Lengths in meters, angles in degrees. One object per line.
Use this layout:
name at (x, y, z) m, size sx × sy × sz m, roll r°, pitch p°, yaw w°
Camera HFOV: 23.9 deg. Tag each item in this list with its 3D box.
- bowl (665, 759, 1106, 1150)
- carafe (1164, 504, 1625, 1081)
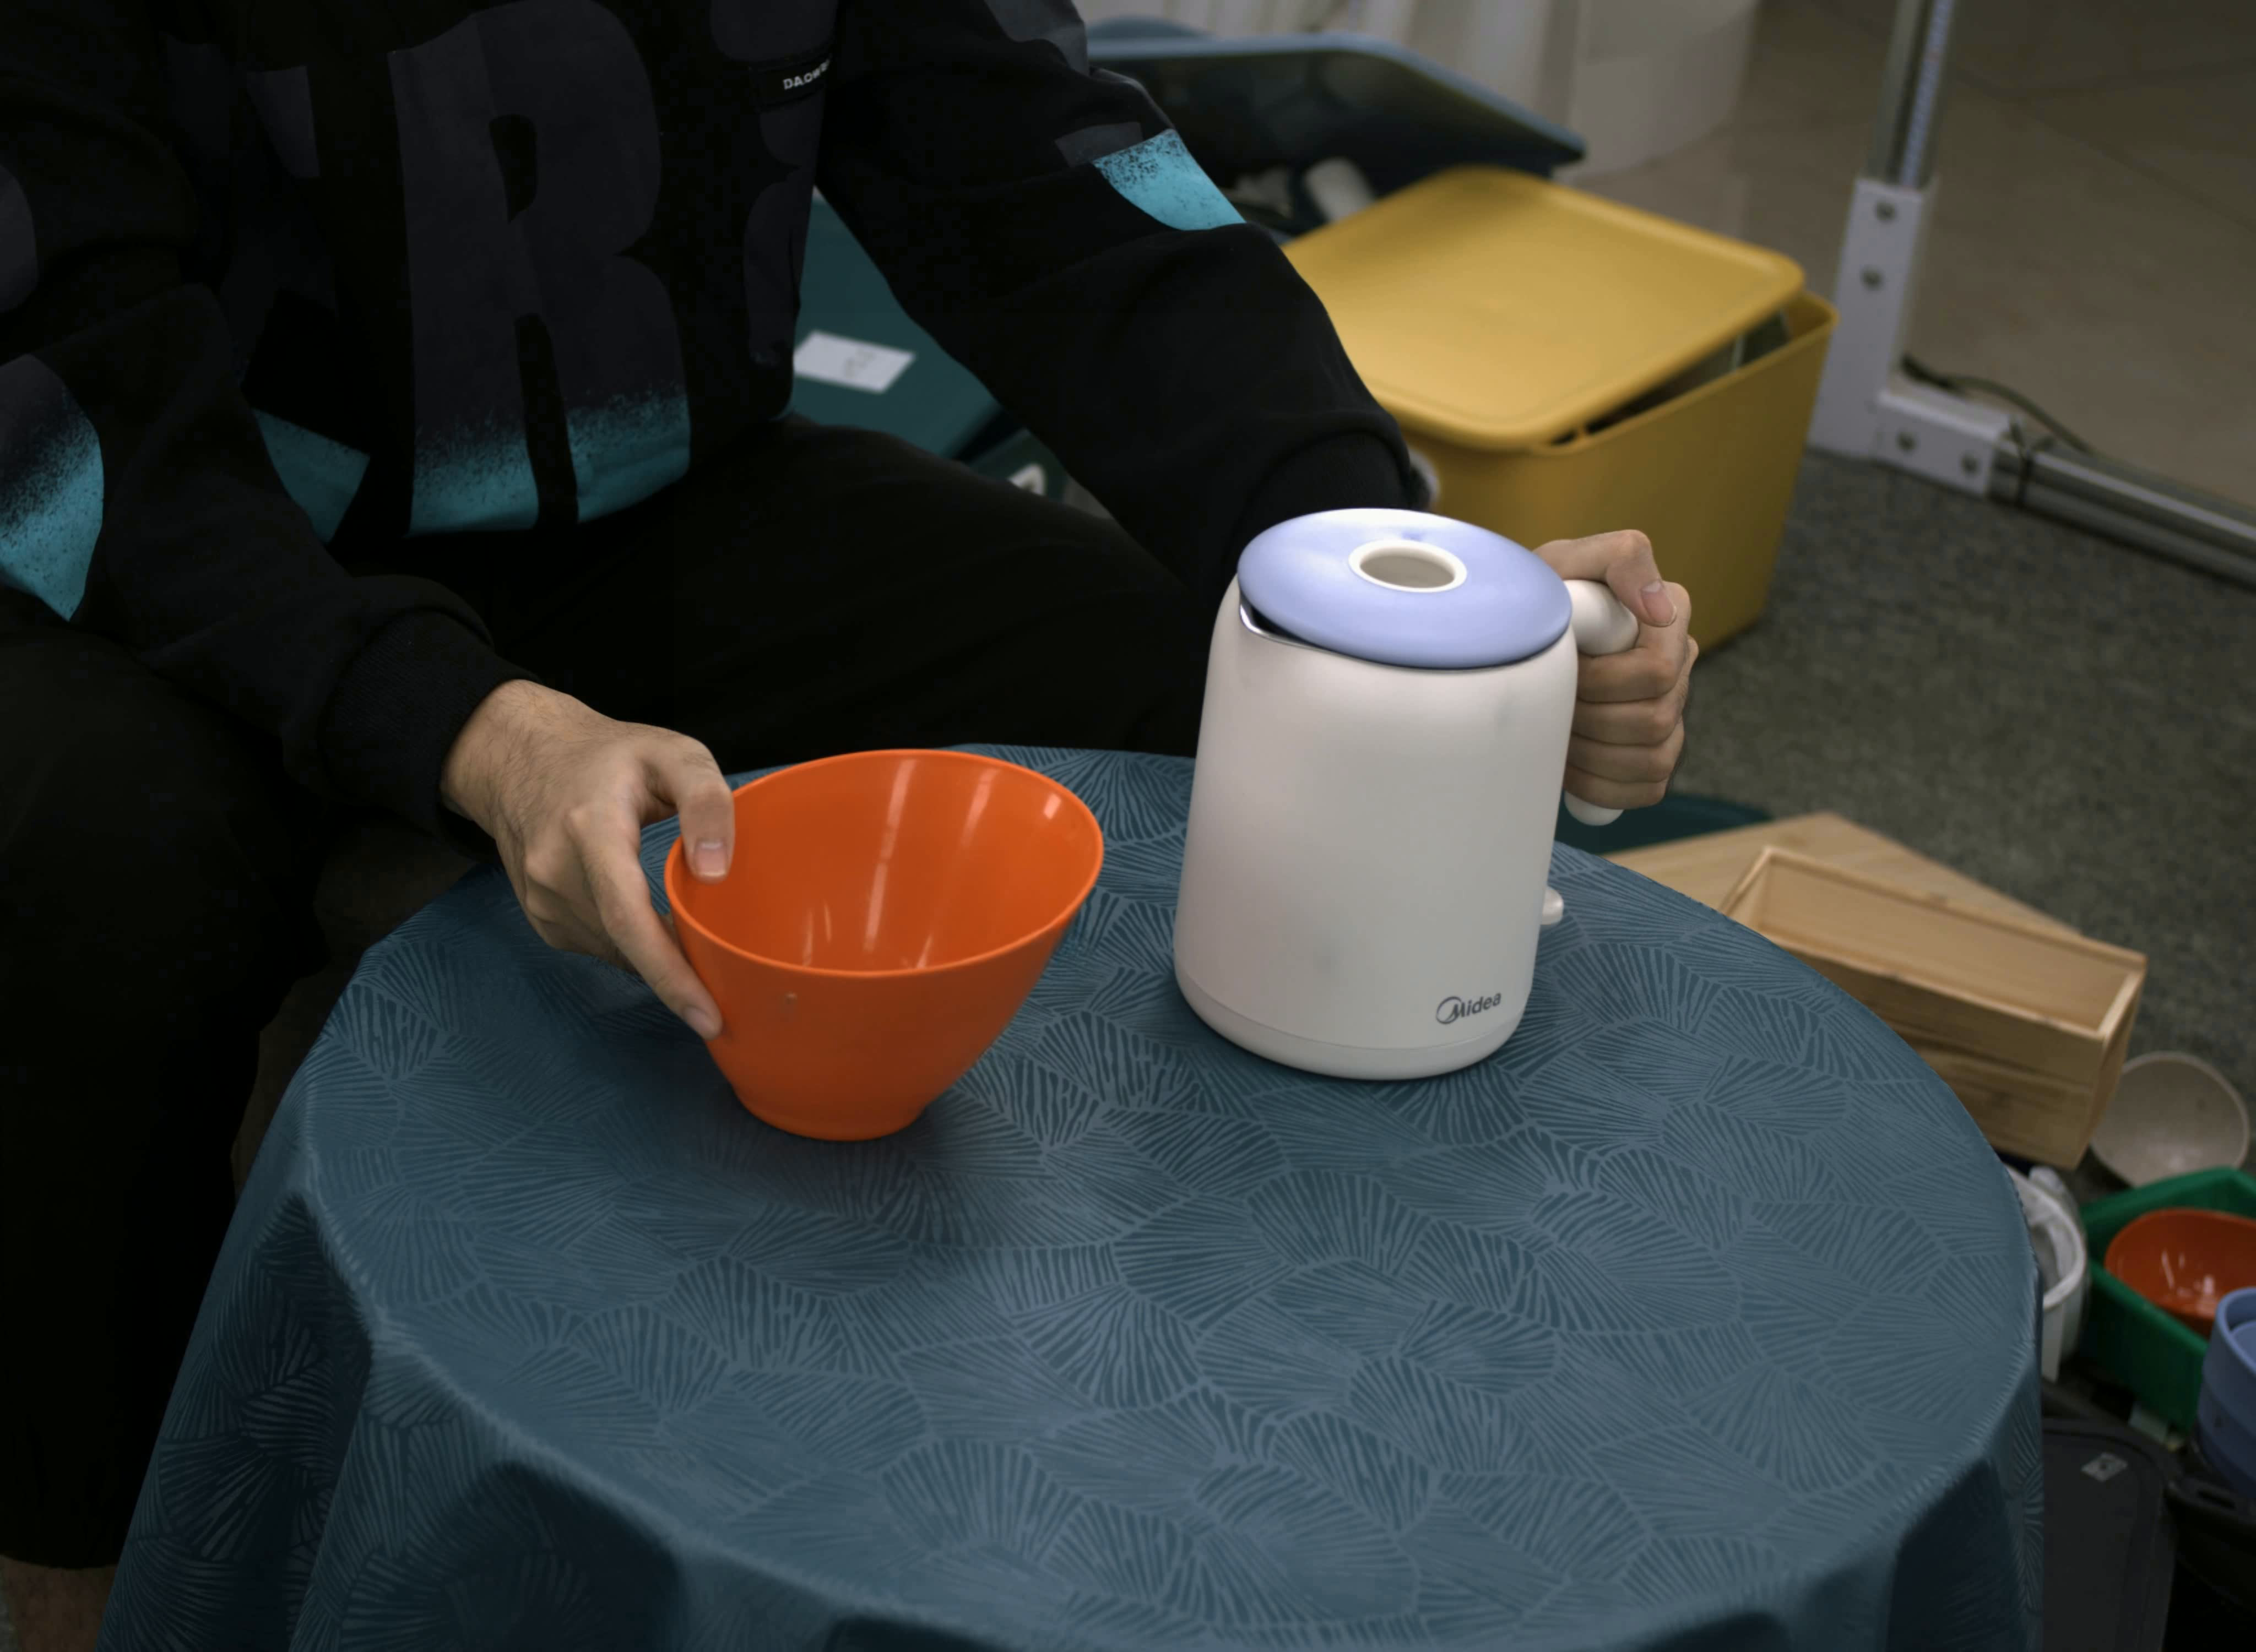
bowl at (-0.087, 0.049, 1.816) m, size 0.147 × 0.104 × 0.149 m, roll 6°, pitch 27°, yaw -3°
carafe at (0.106, -0.017, 1.911) m, size 0.190 × 0.182 × 0.133 m, roll -12°, pitch 33°, yaw -37°
